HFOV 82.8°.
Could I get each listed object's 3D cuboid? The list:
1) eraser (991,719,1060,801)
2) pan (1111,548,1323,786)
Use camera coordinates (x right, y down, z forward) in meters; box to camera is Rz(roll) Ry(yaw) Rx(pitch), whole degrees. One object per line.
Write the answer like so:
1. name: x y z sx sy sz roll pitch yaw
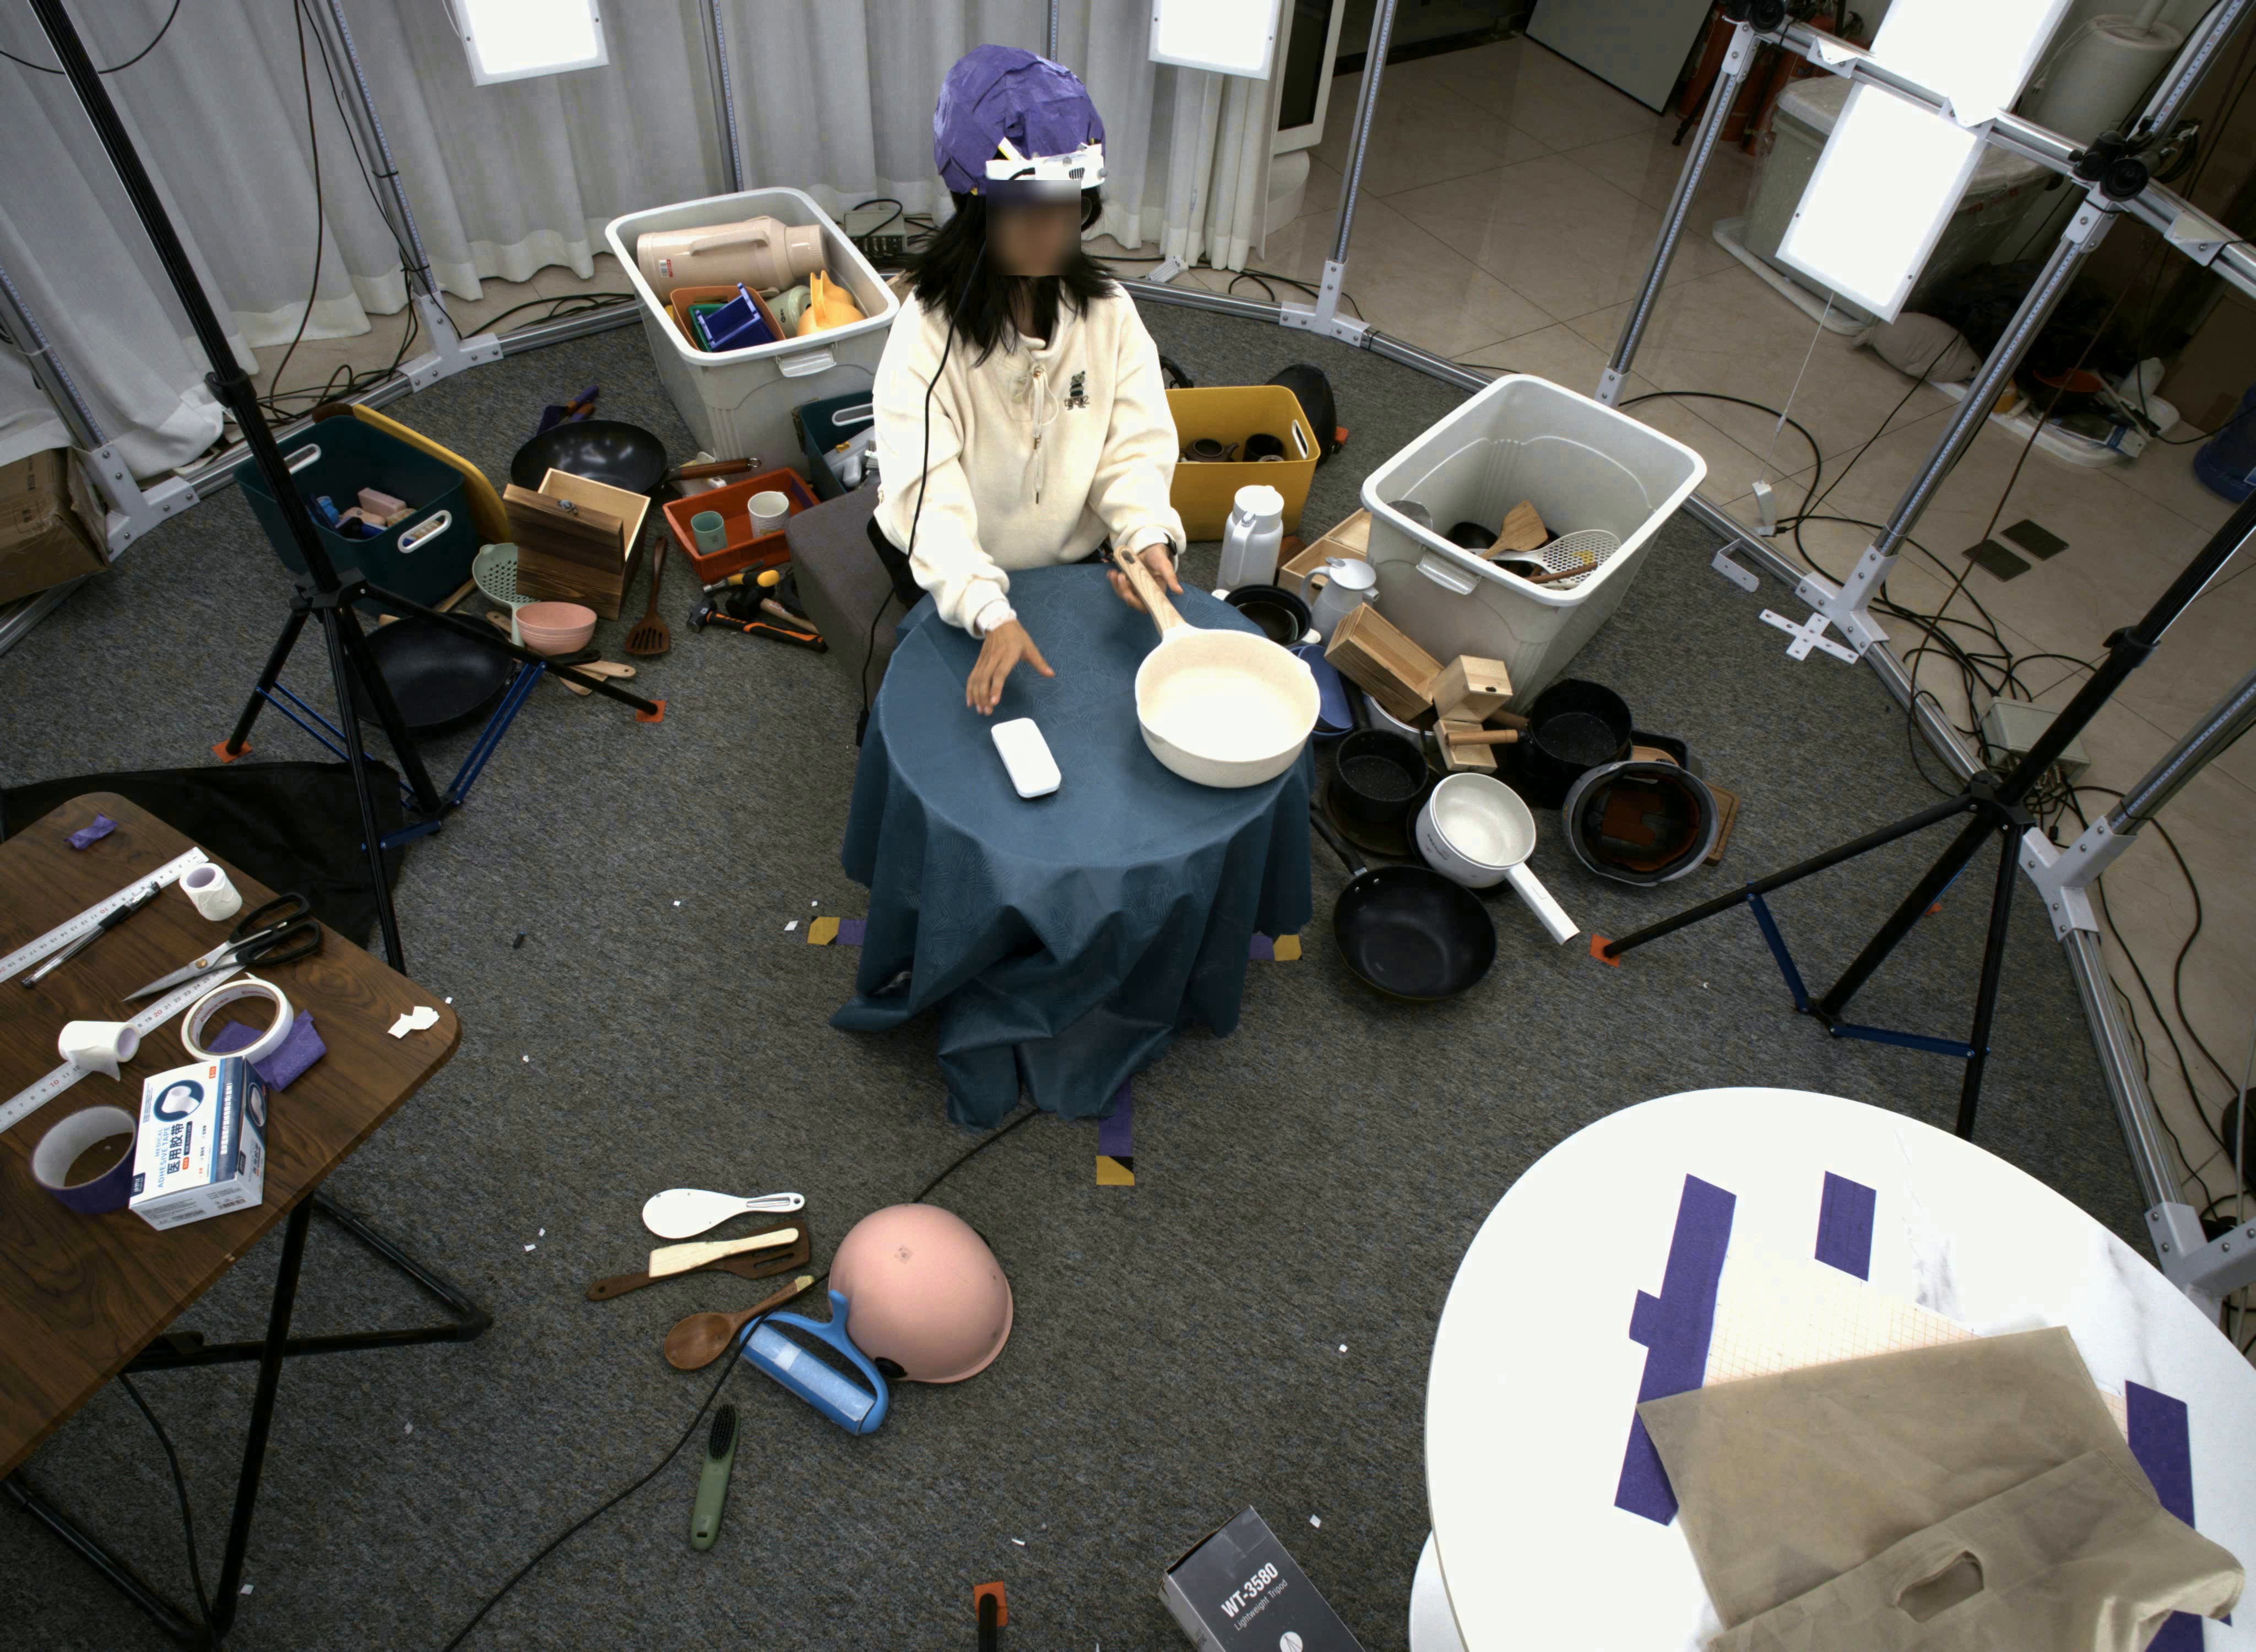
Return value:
1. eraser: -0.137 -0.092 1.721 0.063 0.034 0.134 -13 52 -18
2. pan: 0.091 -0.227 1.807 0.264 0.099 0.444 -22 54 -20
